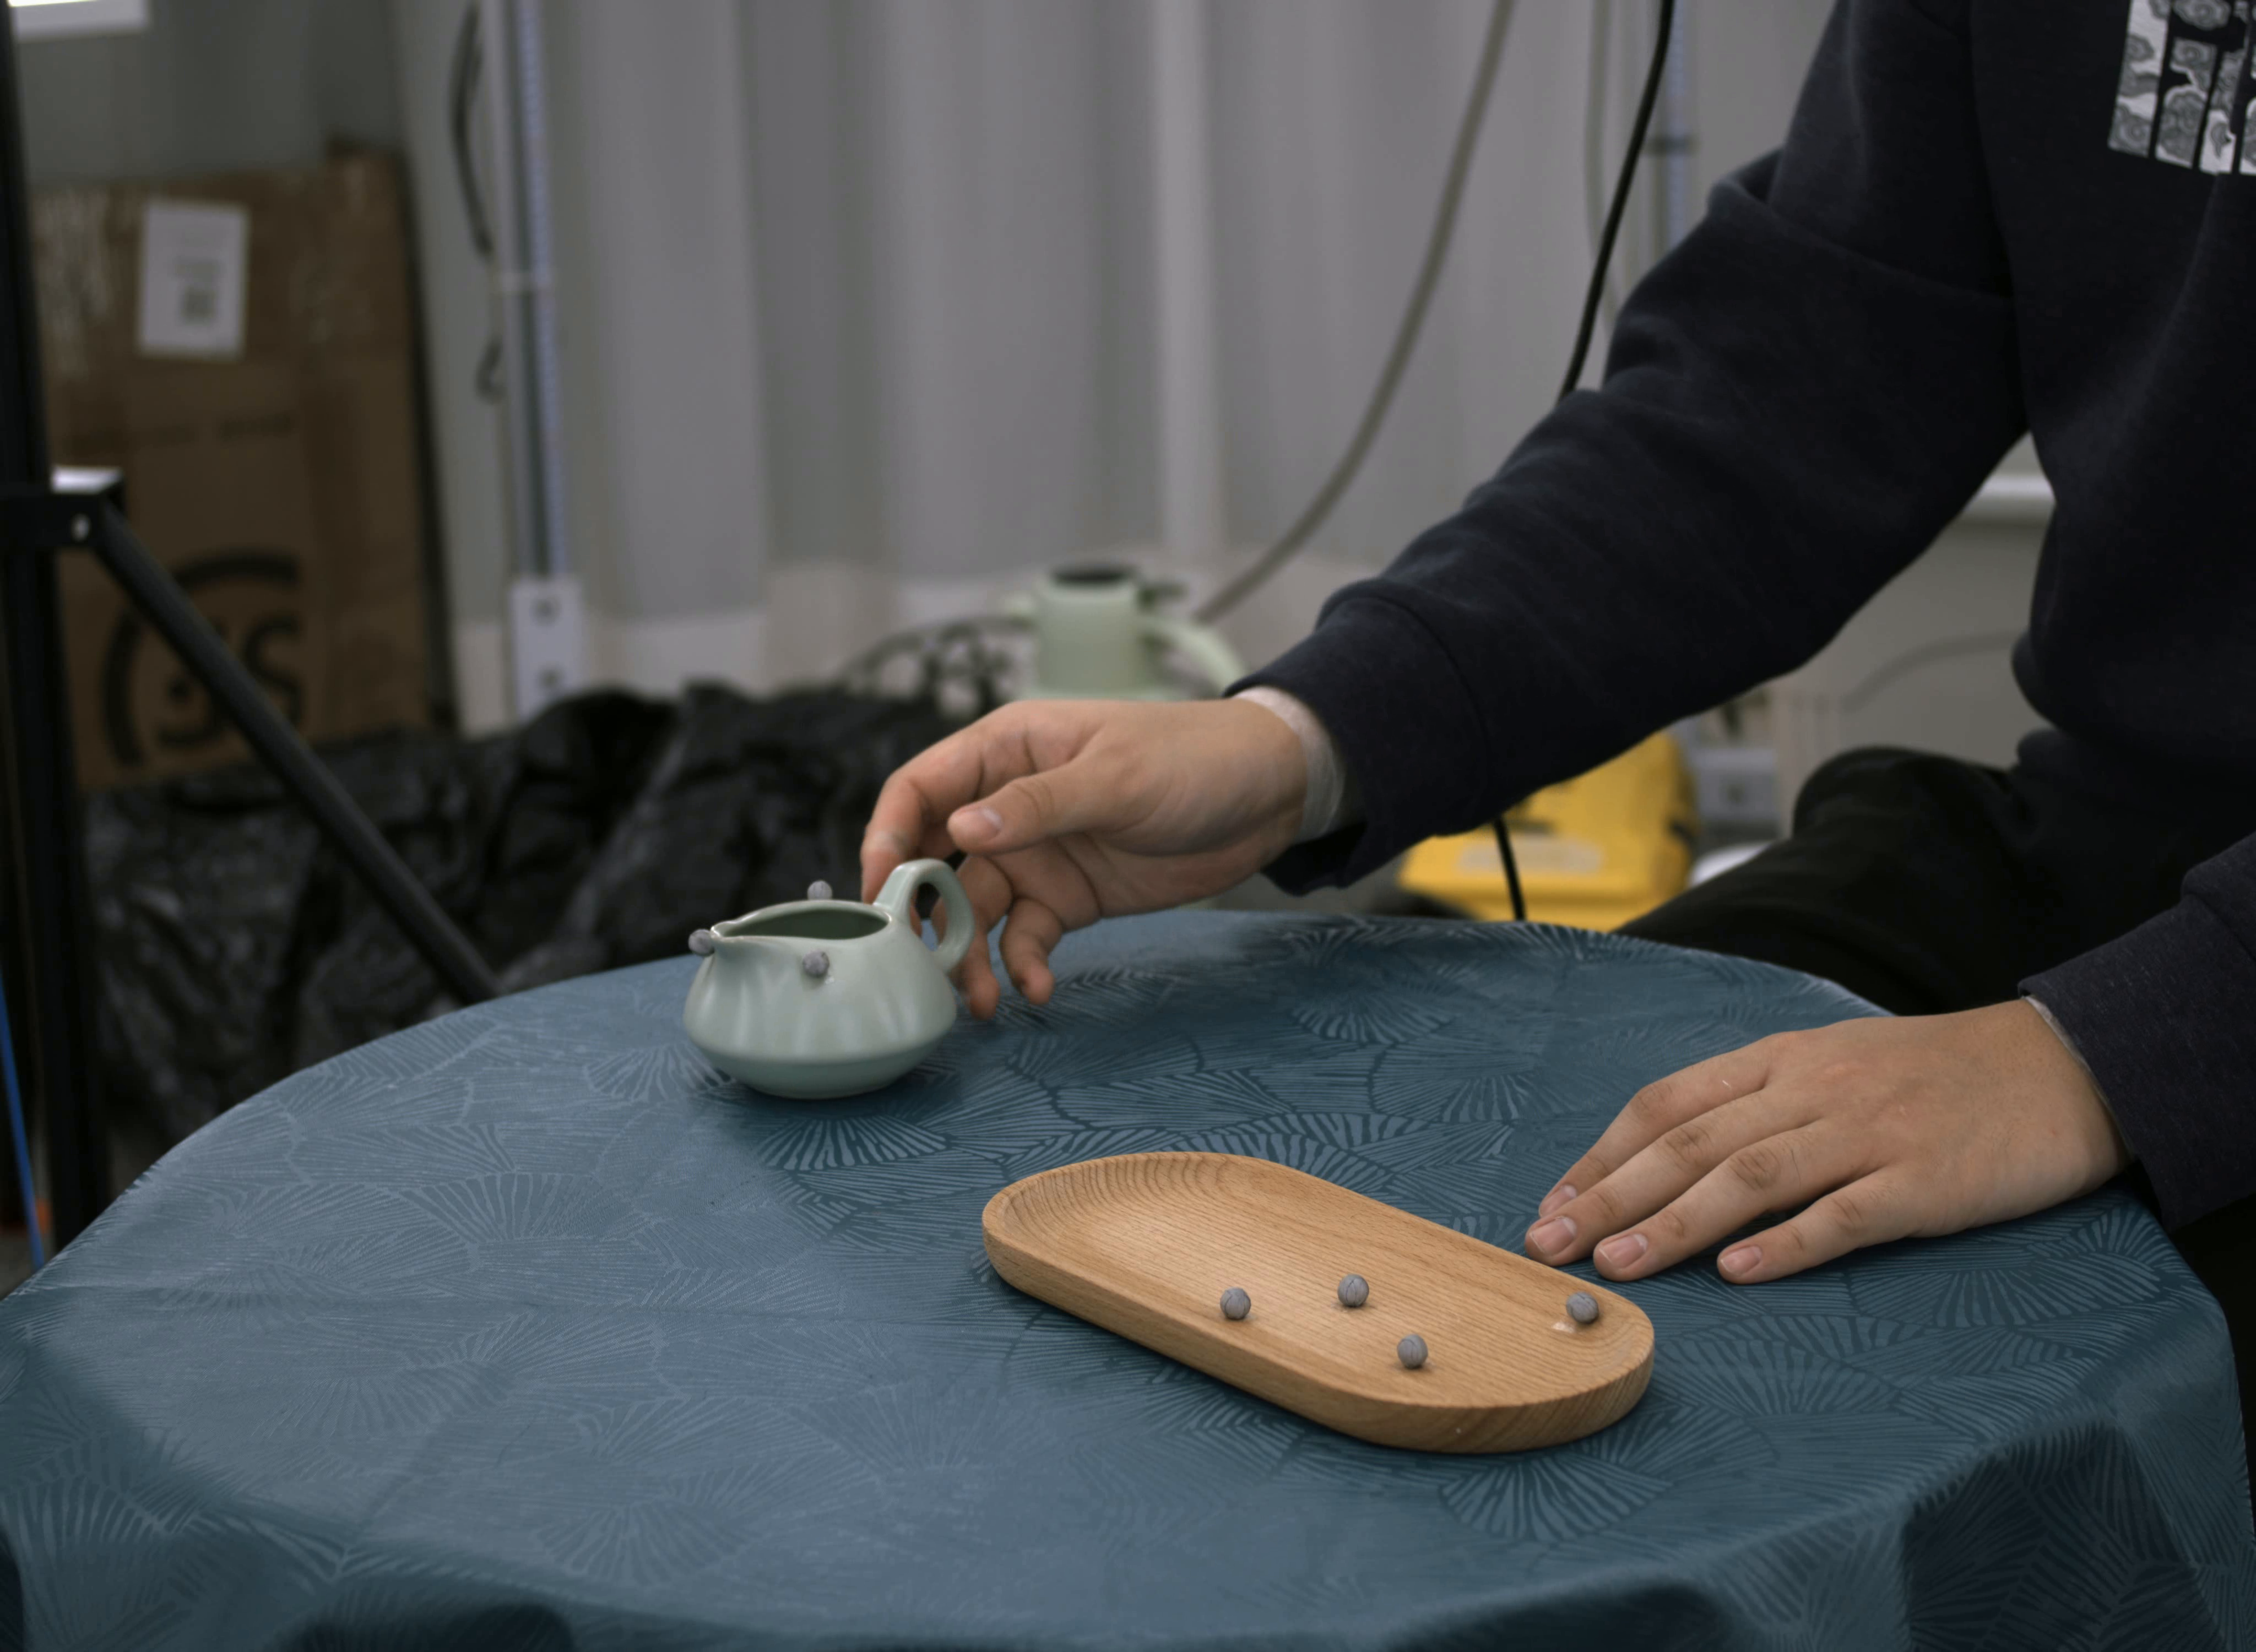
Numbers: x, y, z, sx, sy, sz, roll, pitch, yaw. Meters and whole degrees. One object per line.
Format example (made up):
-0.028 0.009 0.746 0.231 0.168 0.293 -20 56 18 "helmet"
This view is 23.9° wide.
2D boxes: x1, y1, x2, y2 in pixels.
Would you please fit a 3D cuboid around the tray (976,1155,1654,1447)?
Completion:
0.049 0.128 1.450 0.099 0.020 0.236 -12 16 -35 "tray"

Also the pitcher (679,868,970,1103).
-0.090 0.050 1.675 0.088 0.060 0.105 13 20 41 "pitcher"
